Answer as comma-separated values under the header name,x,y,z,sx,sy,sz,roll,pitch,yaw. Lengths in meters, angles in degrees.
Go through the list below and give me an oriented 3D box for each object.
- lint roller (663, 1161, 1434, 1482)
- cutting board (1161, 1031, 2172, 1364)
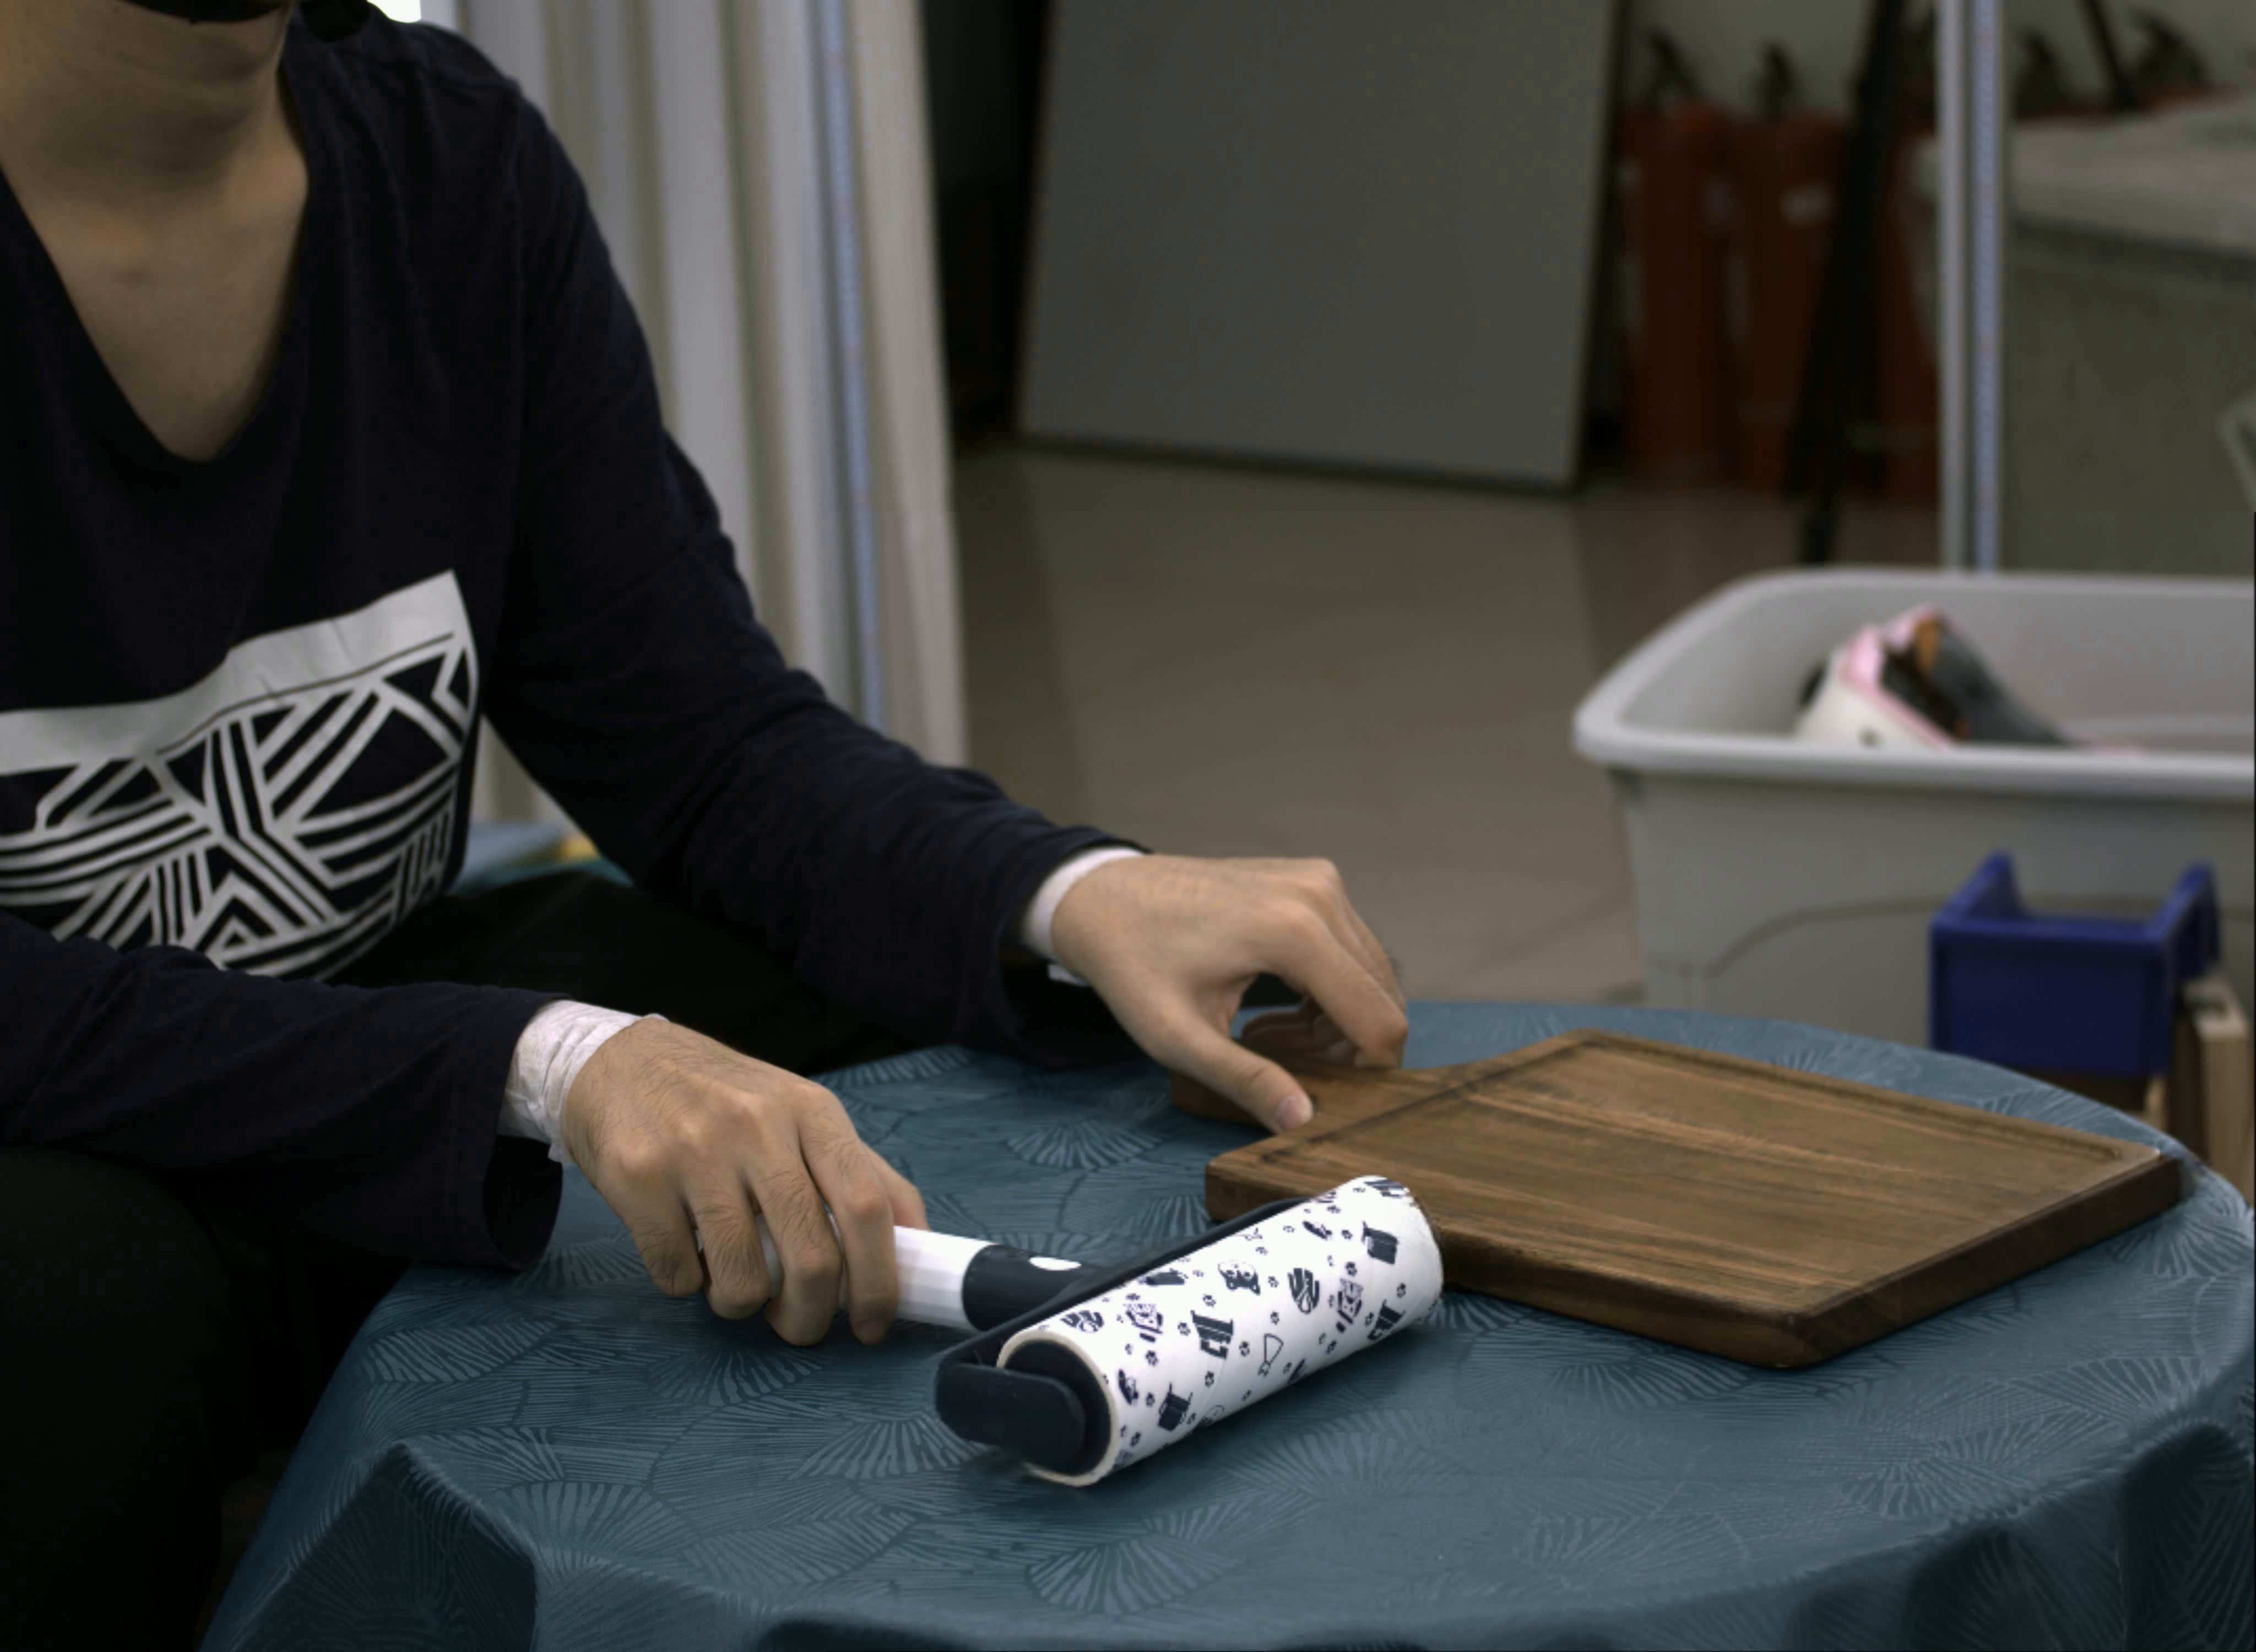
name,x,y,z,sx,sy,sz,roll,pitch,yaw
lint roller,-0.051,0.138,1.632,0.249,0.051,0.173,4,16,40
cutting board,0.141,0.107,1.744,0.197,0.023,0.355,-16,18,-41
